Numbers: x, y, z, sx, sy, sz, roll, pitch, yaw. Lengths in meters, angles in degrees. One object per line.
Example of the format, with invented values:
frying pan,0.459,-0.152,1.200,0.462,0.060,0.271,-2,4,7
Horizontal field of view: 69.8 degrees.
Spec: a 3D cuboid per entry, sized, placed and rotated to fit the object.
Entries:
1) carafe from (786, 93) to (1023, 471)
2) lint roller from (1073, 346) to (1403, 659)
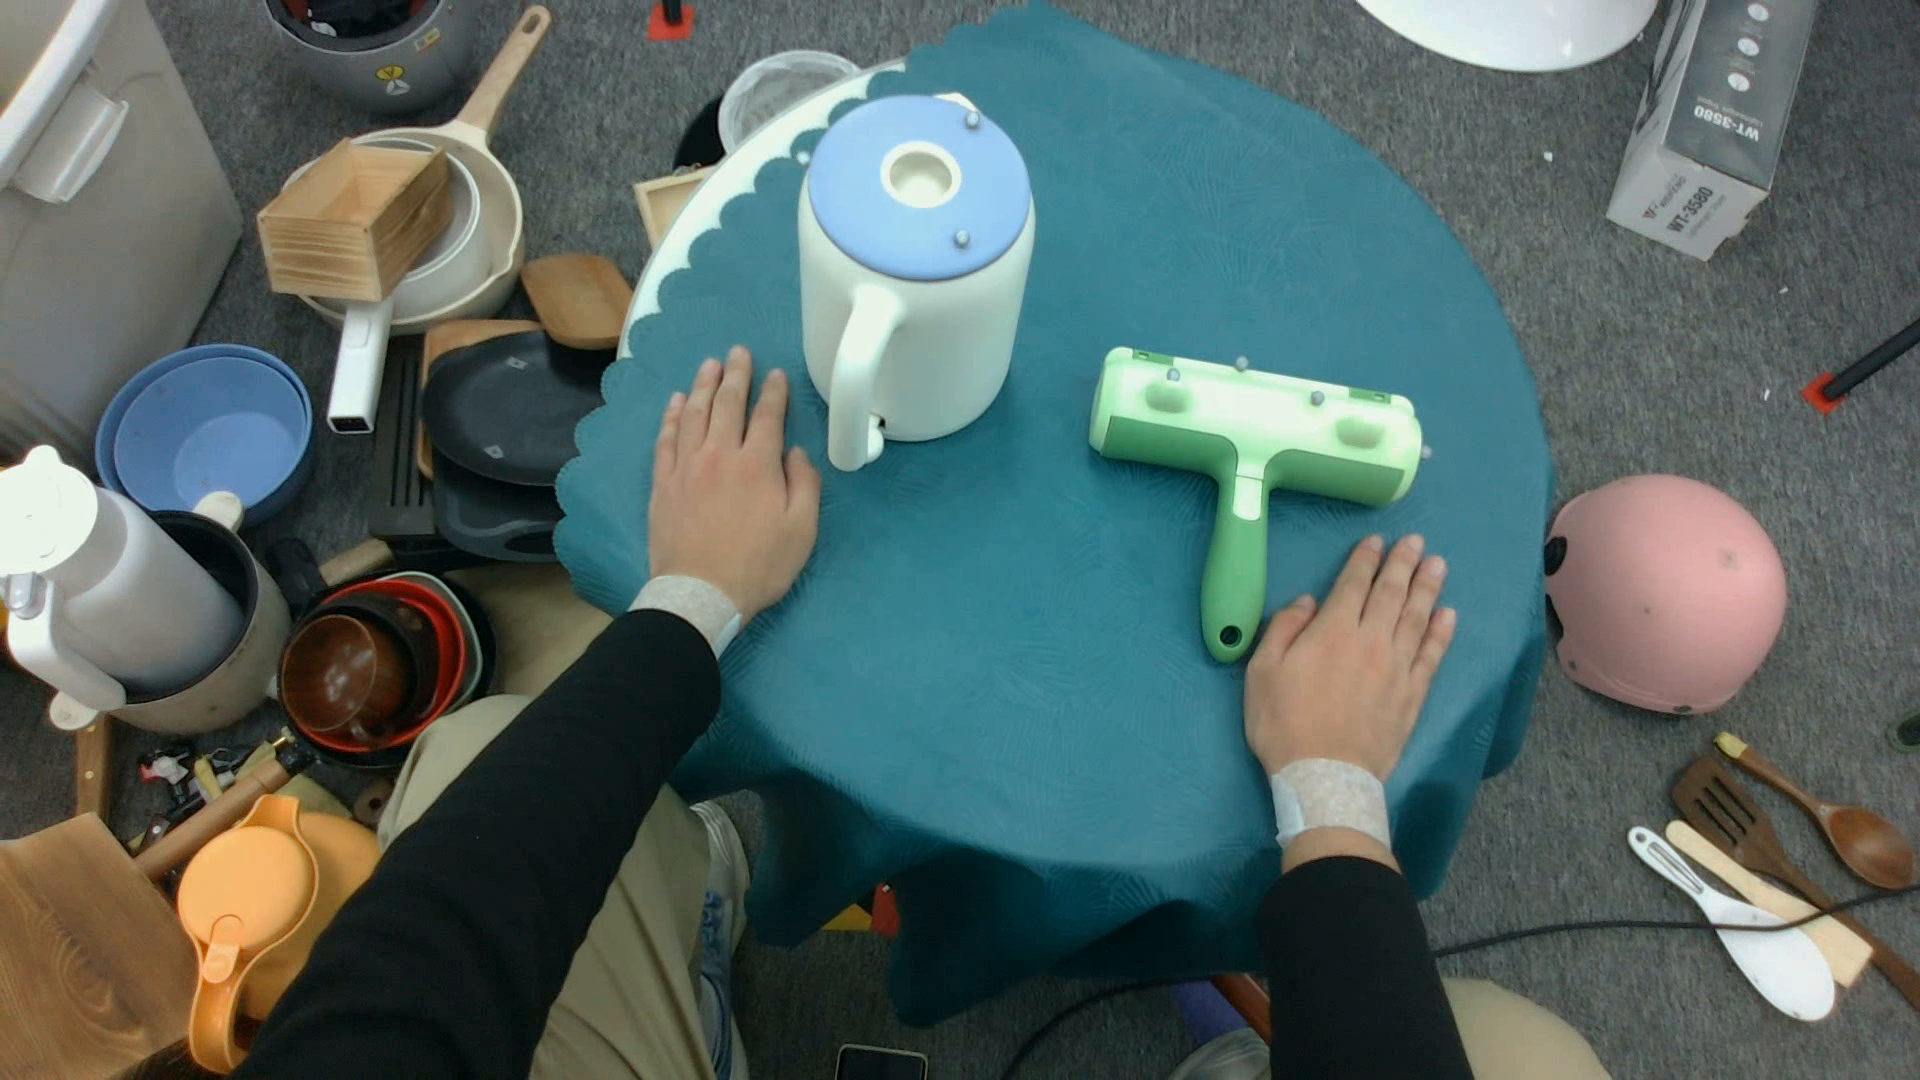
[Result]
carafe,-0.042,-0.133,0.793,0.132,0.182,0.192,17,66,3
lint roller,0.162,-0.025,0.817,0.198,0.082,0.184,11,61,0
